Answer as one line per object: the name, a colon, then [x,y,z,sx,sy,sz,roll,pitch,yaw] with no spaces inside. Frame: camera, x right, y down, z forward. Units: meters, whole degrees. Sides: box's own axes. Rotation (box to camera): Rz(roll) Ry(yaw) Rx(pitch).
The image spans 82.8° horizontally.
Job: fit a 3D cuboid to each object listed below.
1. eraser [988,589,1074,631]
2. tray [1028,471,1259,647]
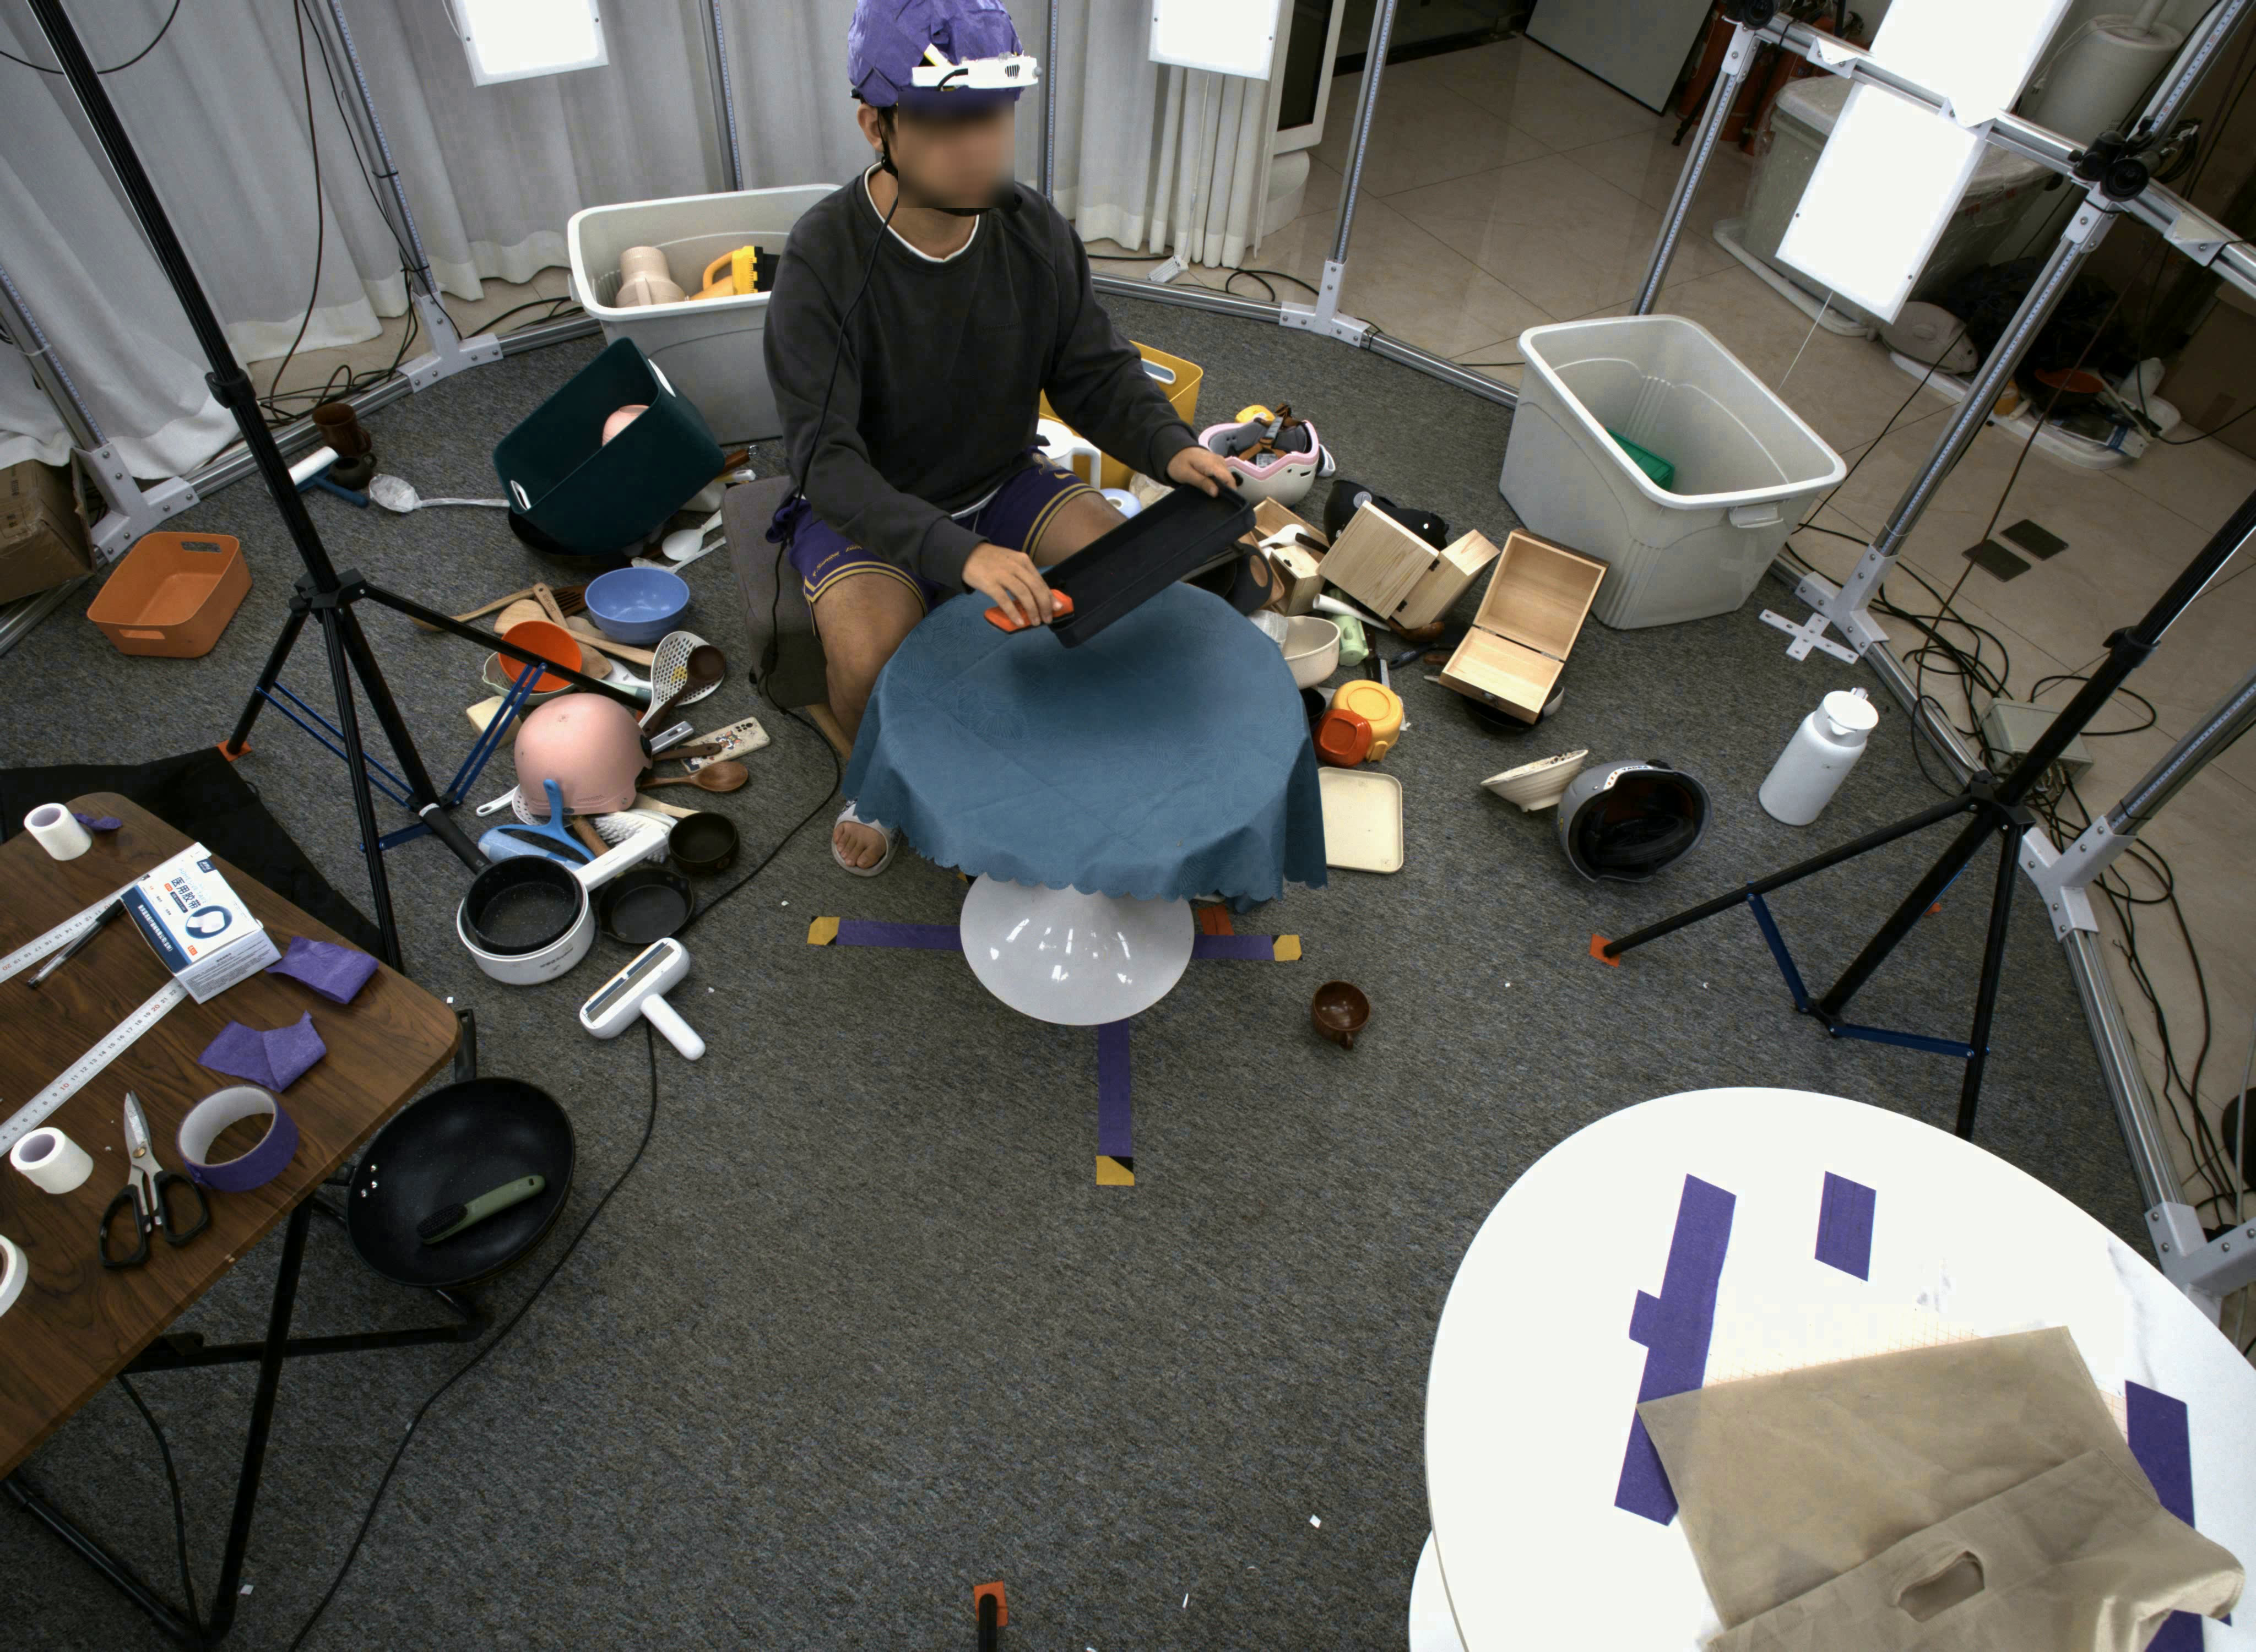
eraser: [-0.130,-0.292,1.736,0.108,0.022,0.060,-23,28,-25]
tray: [0.018,-0.374,1.786,0.318,0.036,0.188,-35,33,-2]
